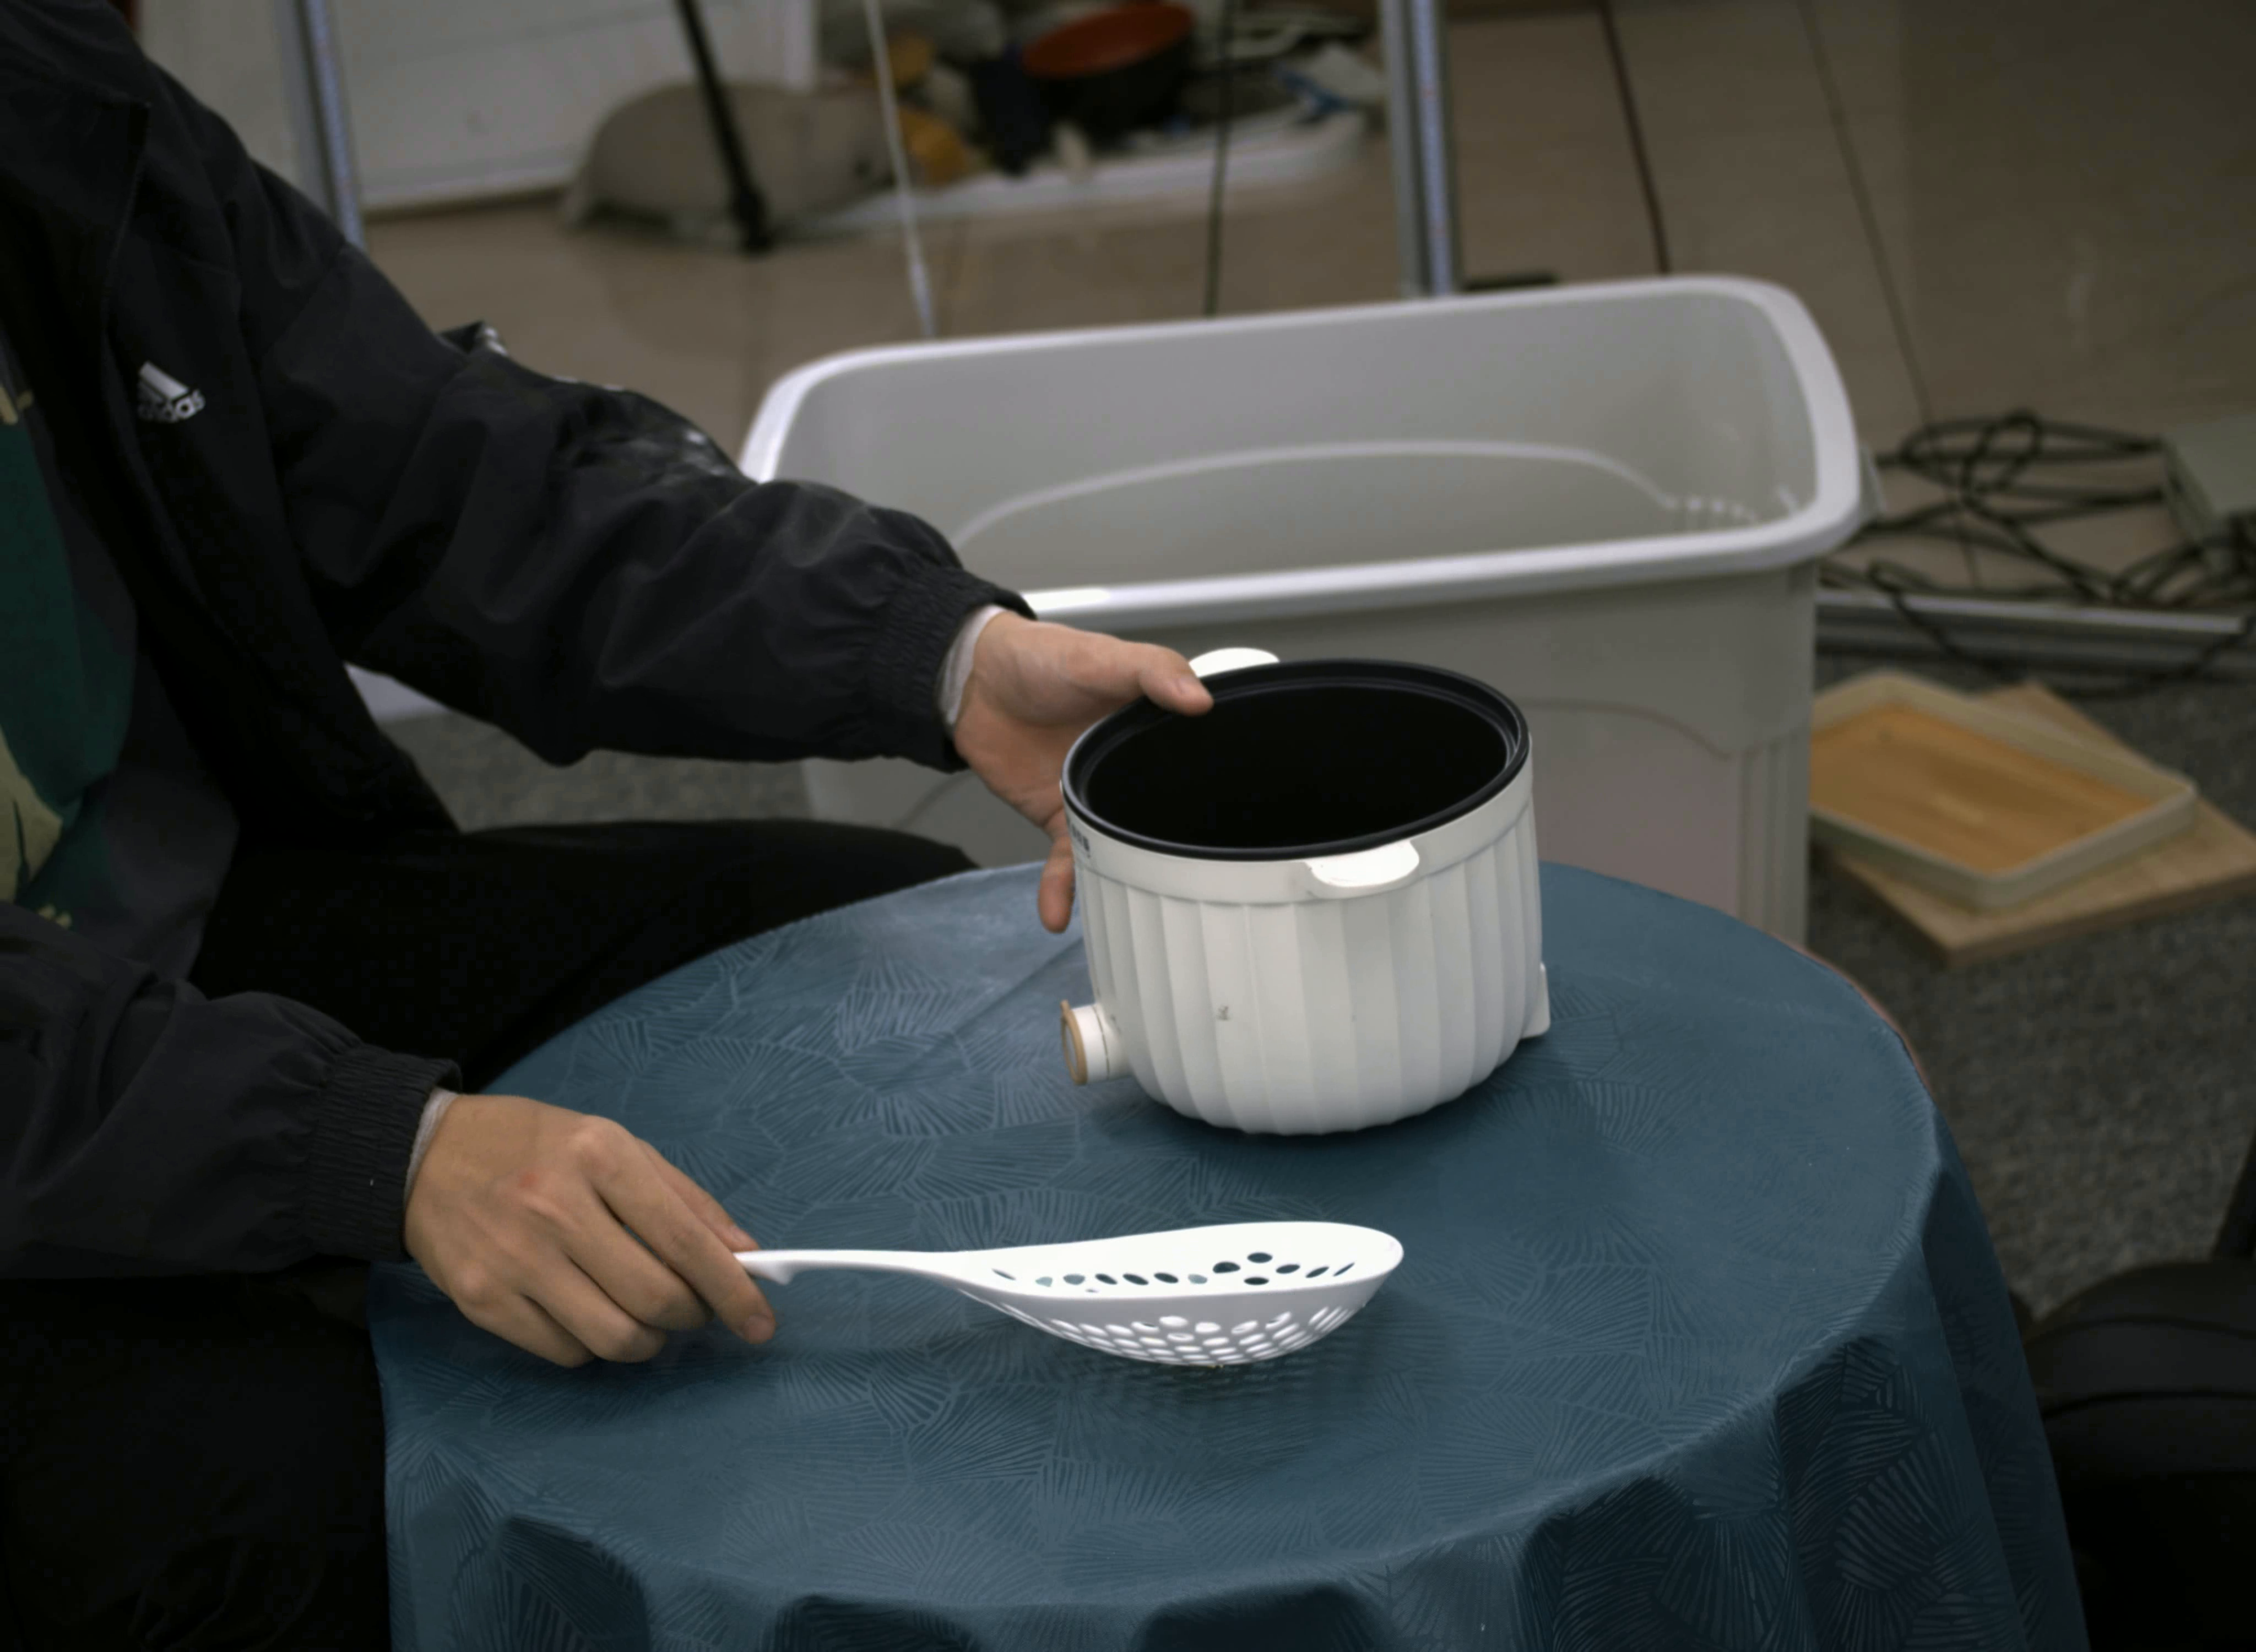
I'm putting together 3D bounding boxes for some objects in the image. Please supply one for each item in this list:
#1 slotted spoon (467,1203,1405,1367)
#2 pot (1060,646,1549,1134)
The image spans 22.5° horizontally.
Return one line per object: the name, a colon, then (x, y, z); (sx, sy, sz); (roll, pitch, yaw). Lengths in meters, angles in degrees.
slotted spoon: (-0.072, 0.166, 2.043); (0.347, 0.051, 0.136); (2, 10, 15)
pot: (0.066, 0.032, 2.192); (0.190, 0.145, 0.237); (-8, 24, -11)
